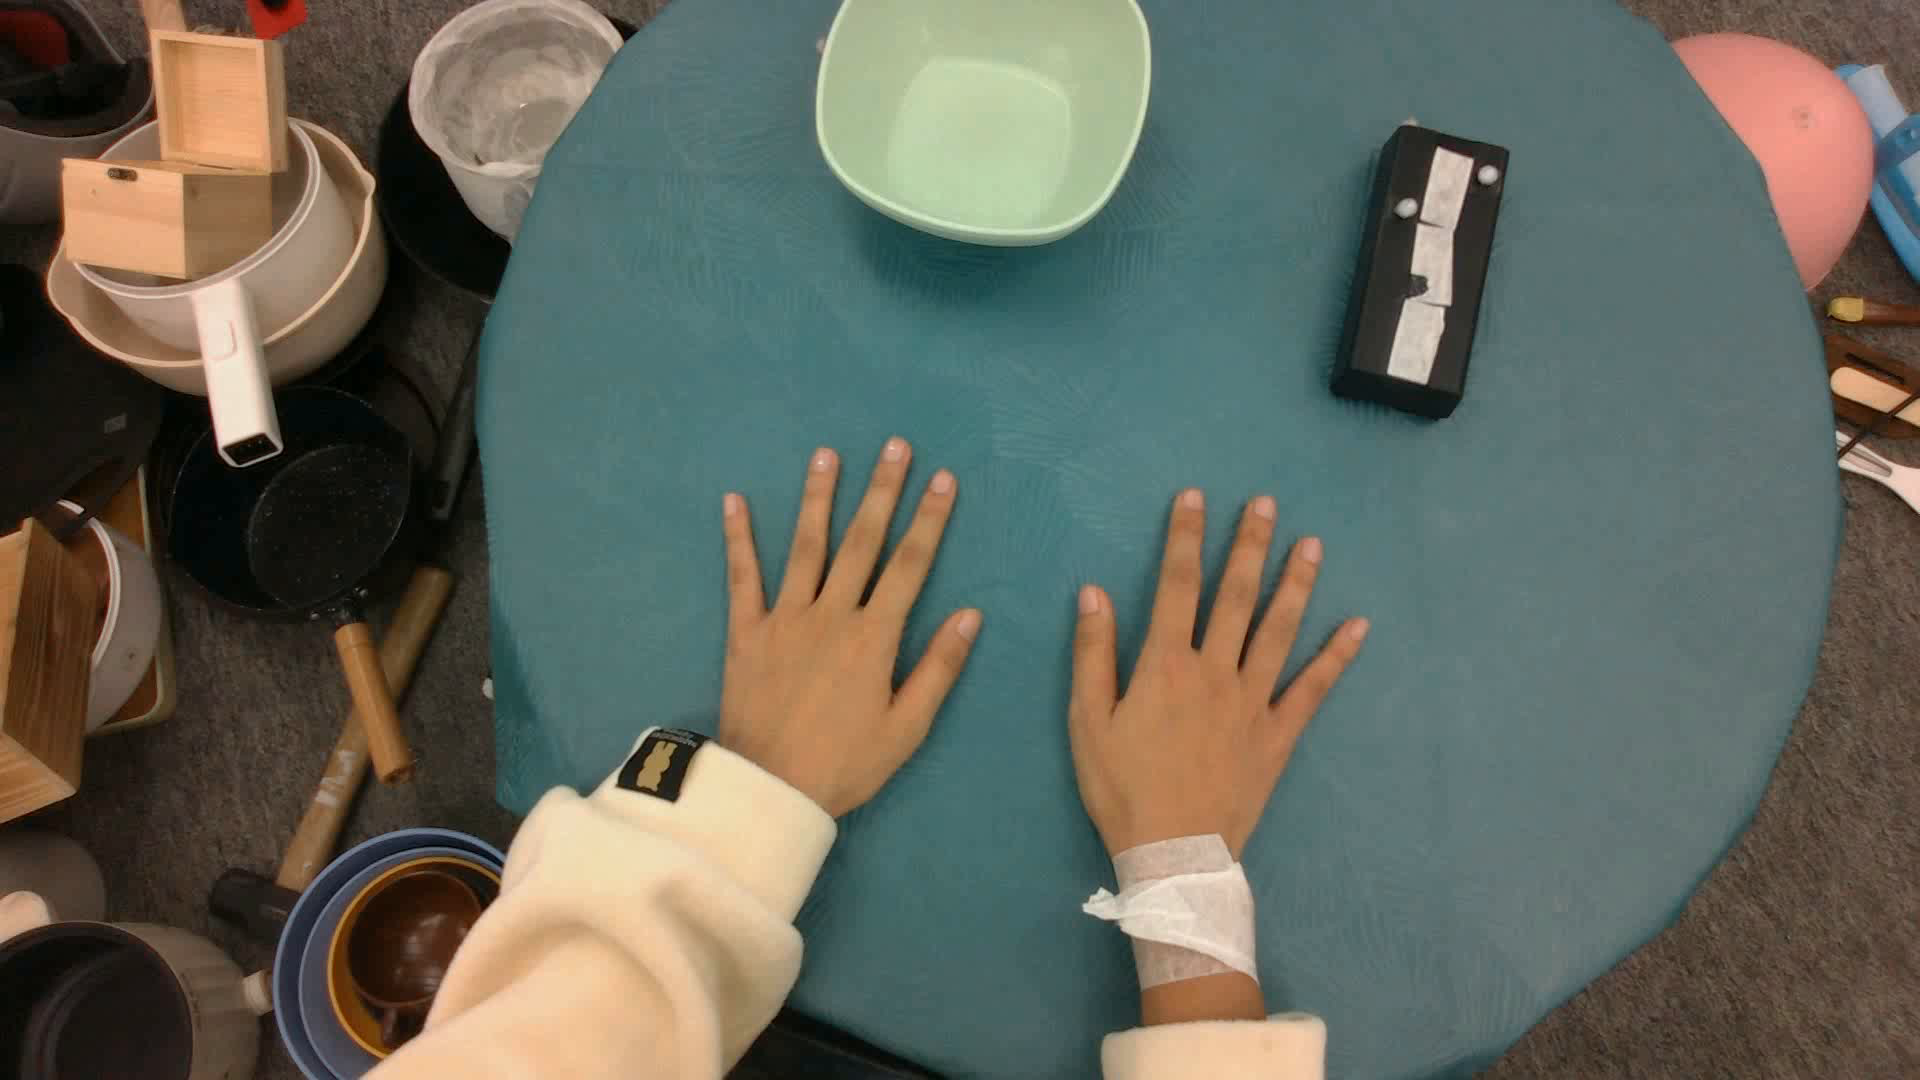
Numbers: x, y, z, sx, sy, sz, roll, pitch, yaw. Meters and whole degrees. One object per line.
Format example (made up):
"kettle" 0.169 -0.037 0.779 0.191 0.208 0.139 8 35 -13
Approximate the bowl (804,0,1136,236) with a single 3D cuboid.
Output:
"bowl" 0.005 -0.191 0.612 0.151 0.058 0.152 0 75 1

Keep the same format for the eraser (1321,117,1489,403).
"eraser" 0.198 -0.126 0.616 0.053 0.030 0.126 13 78 4
